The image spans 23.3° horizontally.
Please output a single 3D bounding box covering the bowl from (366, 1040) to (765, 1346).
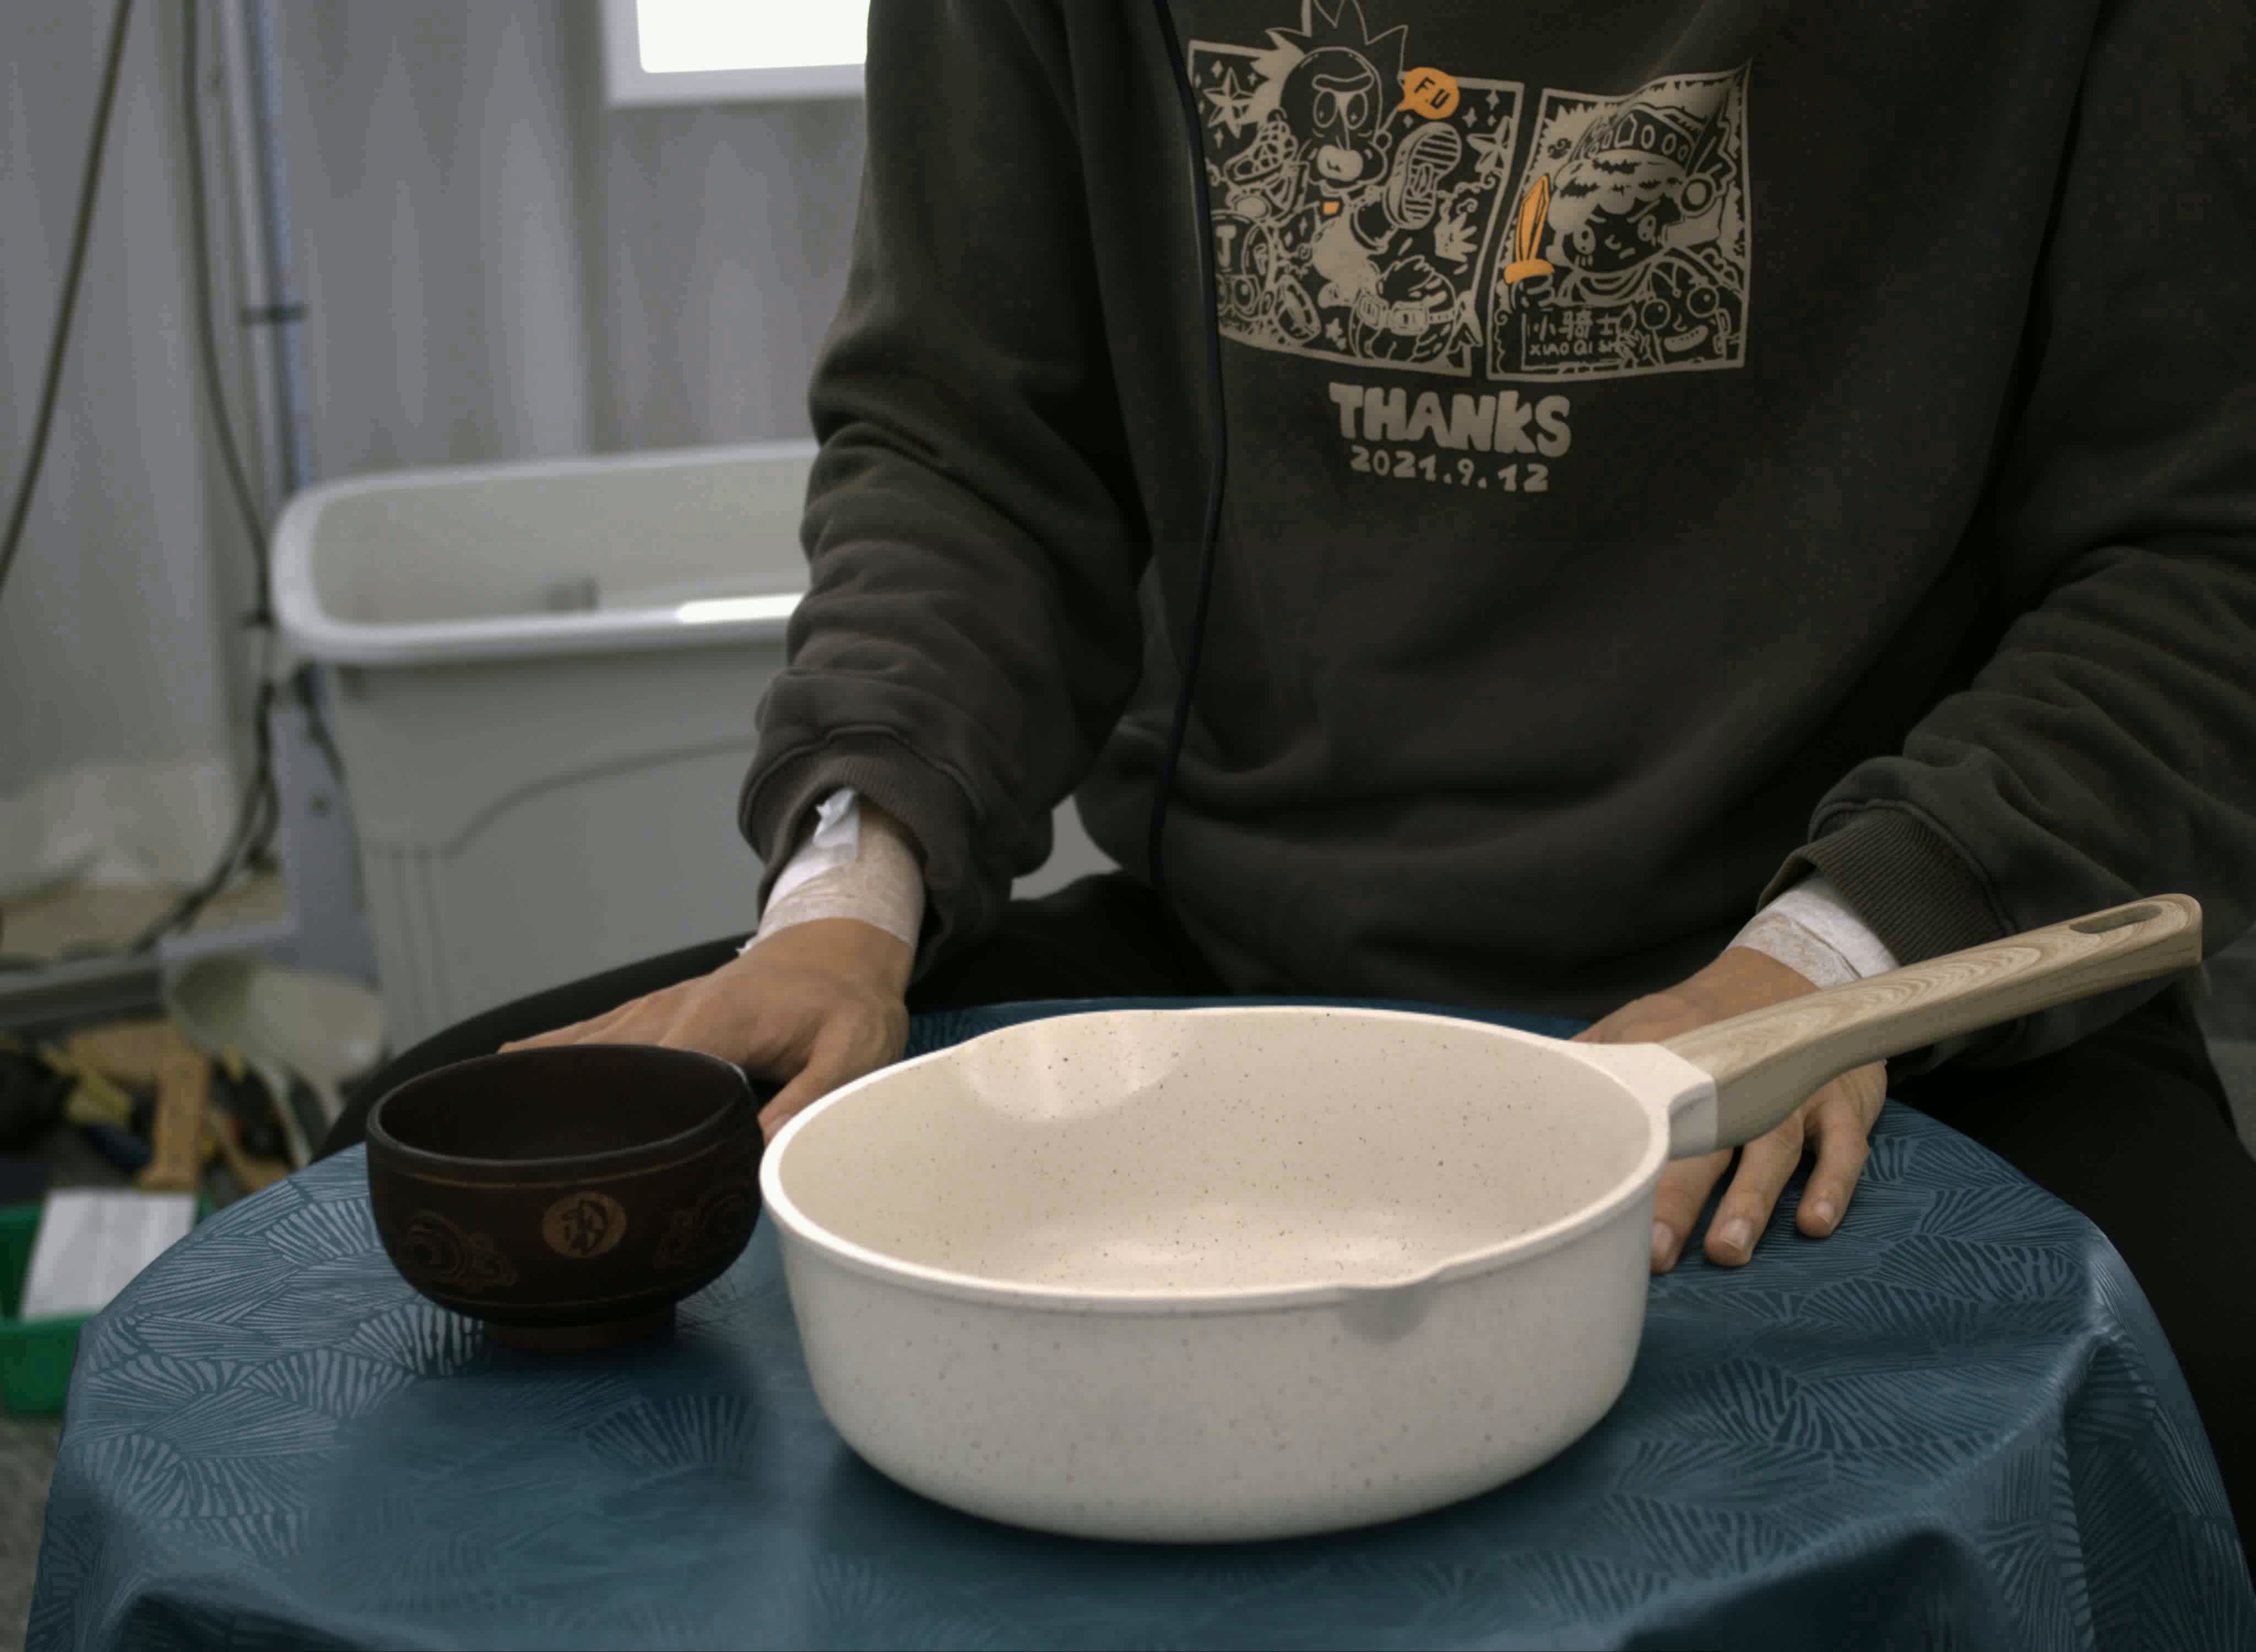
[{"bbox_3d":[-0.165,0.113,1.624,0.117,0.069,0.119,-4,13,1],"label":"bowl"}]

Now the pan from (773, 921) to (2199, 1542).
[{"bbox_3d":[0.114,0.107,1.541,0.433,0.101,0.265,-8,14,-20],"label":"pan"}]
